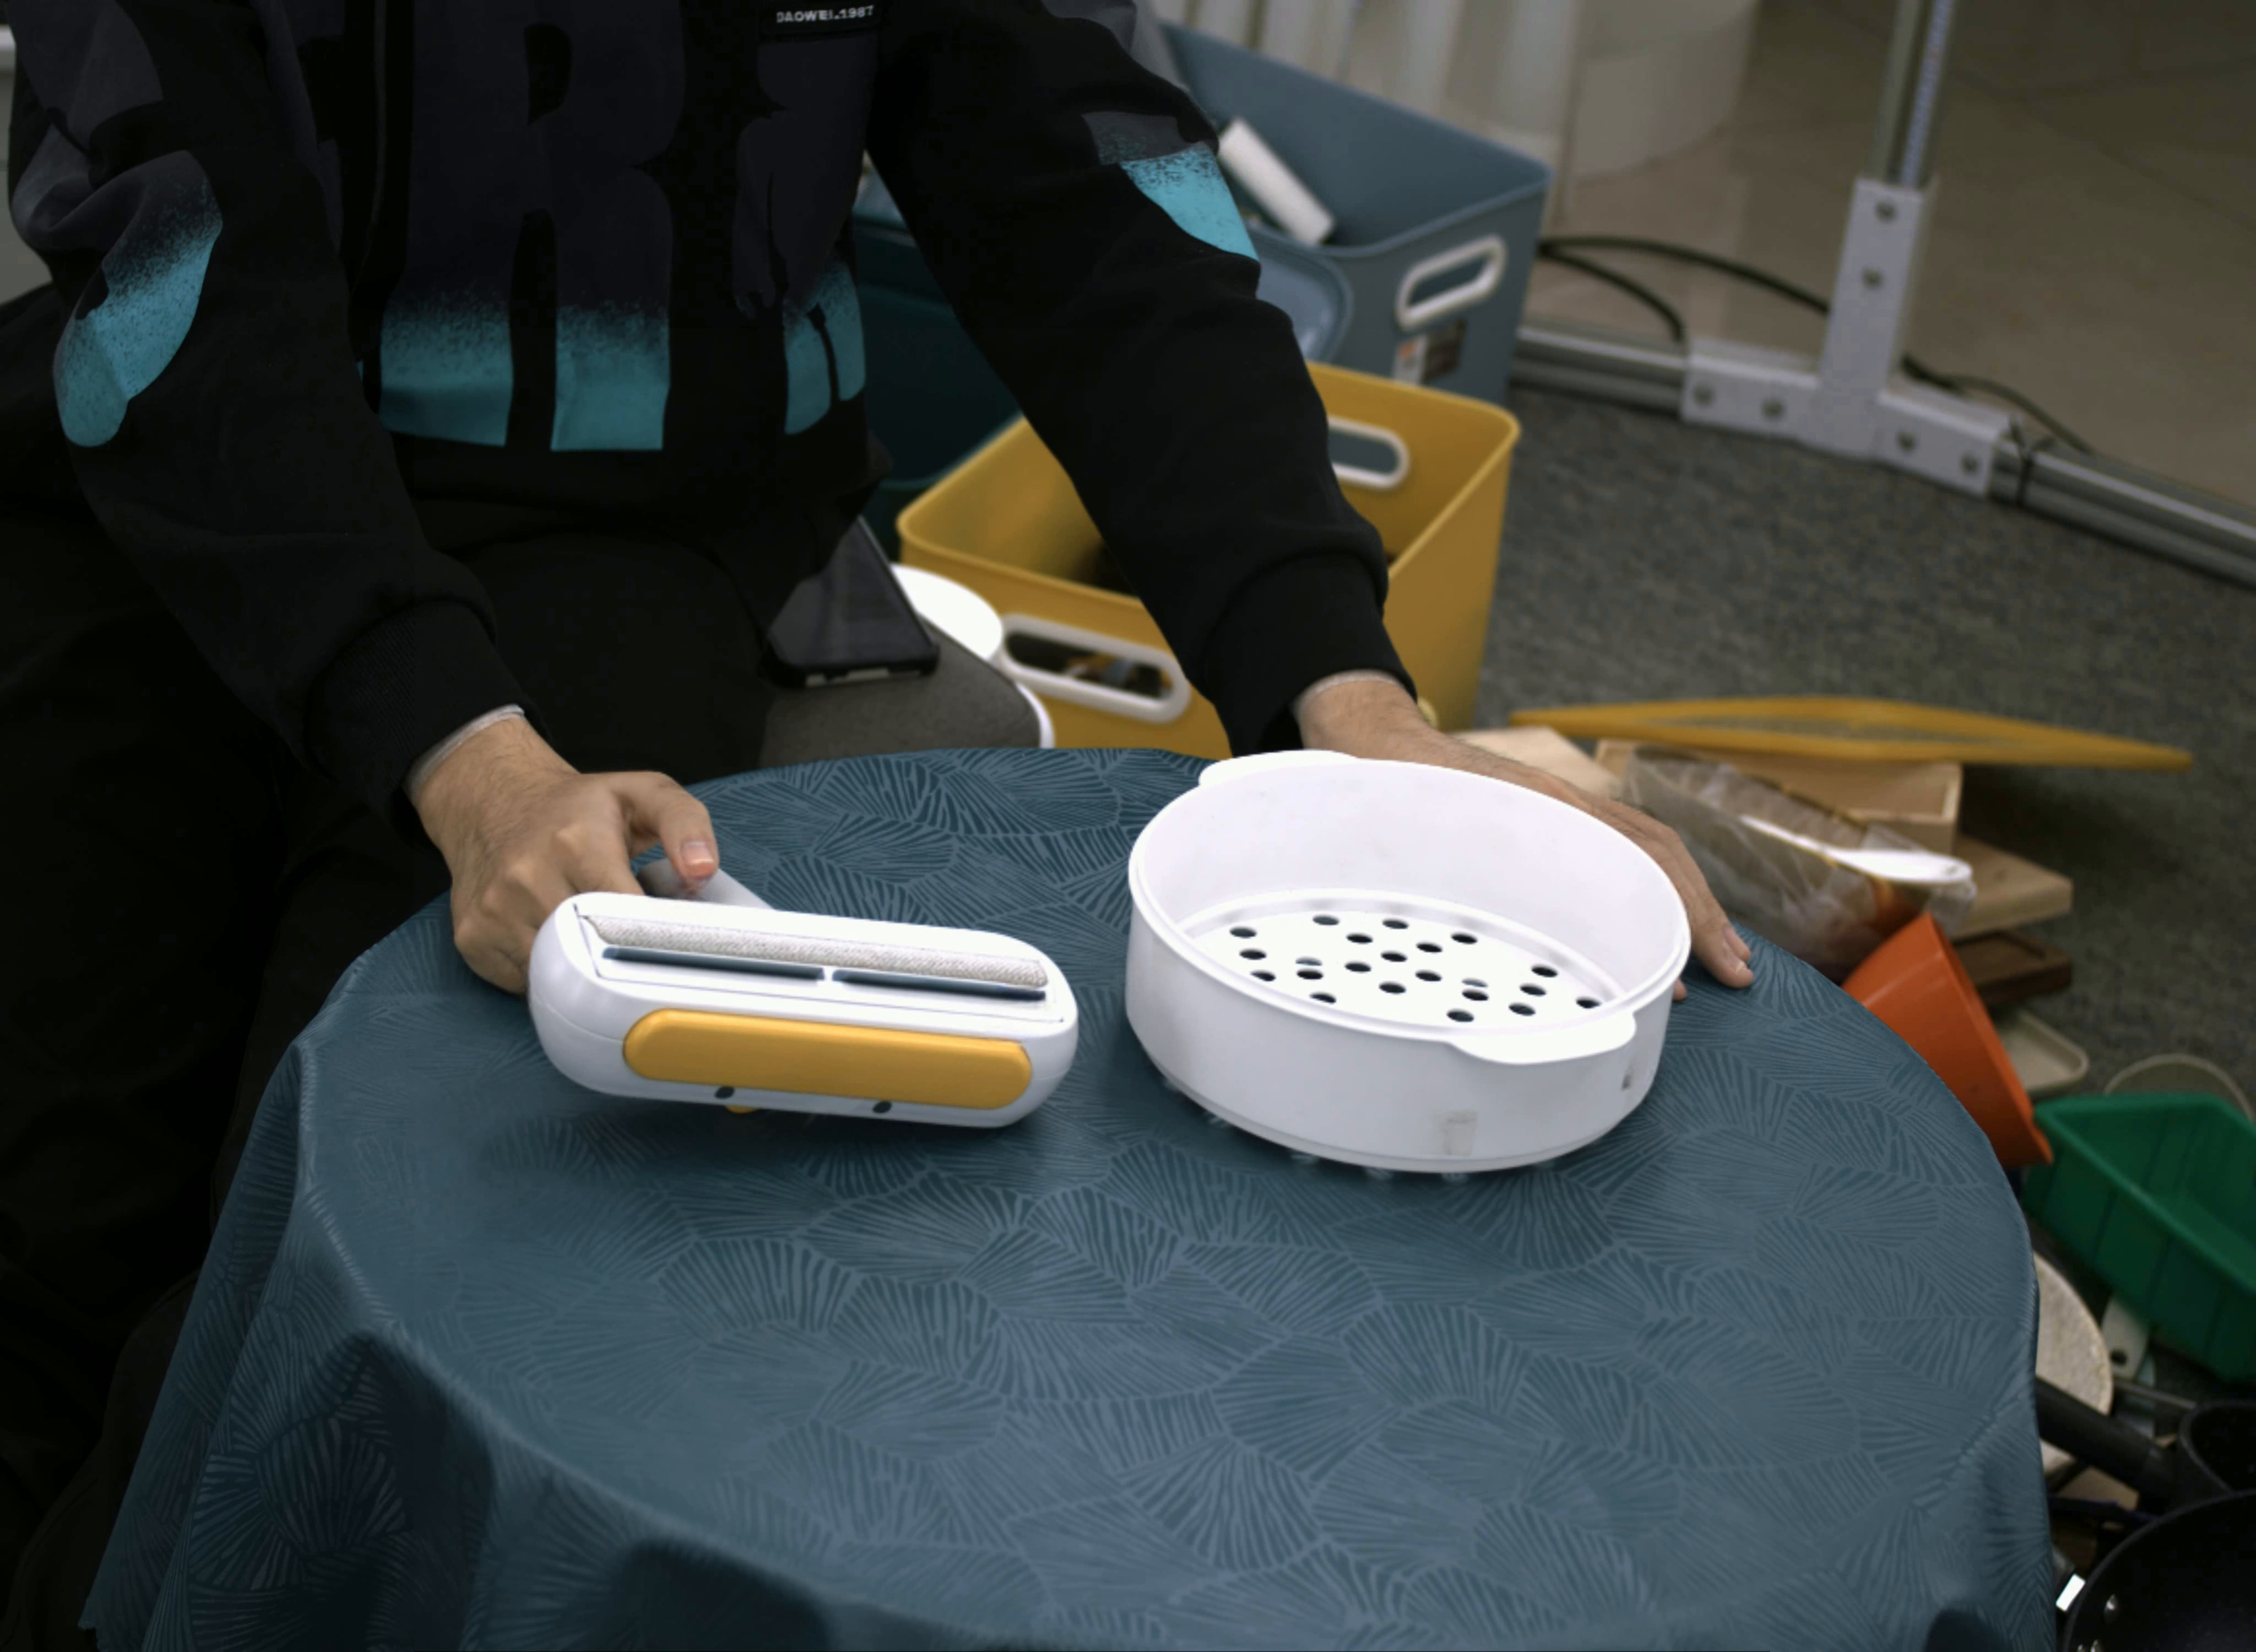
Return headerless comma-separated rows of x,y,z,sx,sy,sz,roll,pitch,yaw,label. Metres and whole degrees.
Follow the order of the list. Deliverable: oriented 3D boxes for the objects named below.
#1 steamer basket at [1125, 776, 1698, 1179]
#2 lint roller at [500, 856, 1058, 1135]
0.098,0.055,1.886,0.200,0.069,0.232,-6,27,-25,steamer basket
-0.134,0.044,1.853,0.191,0.074,0.194,4,24,-18,lint roller
